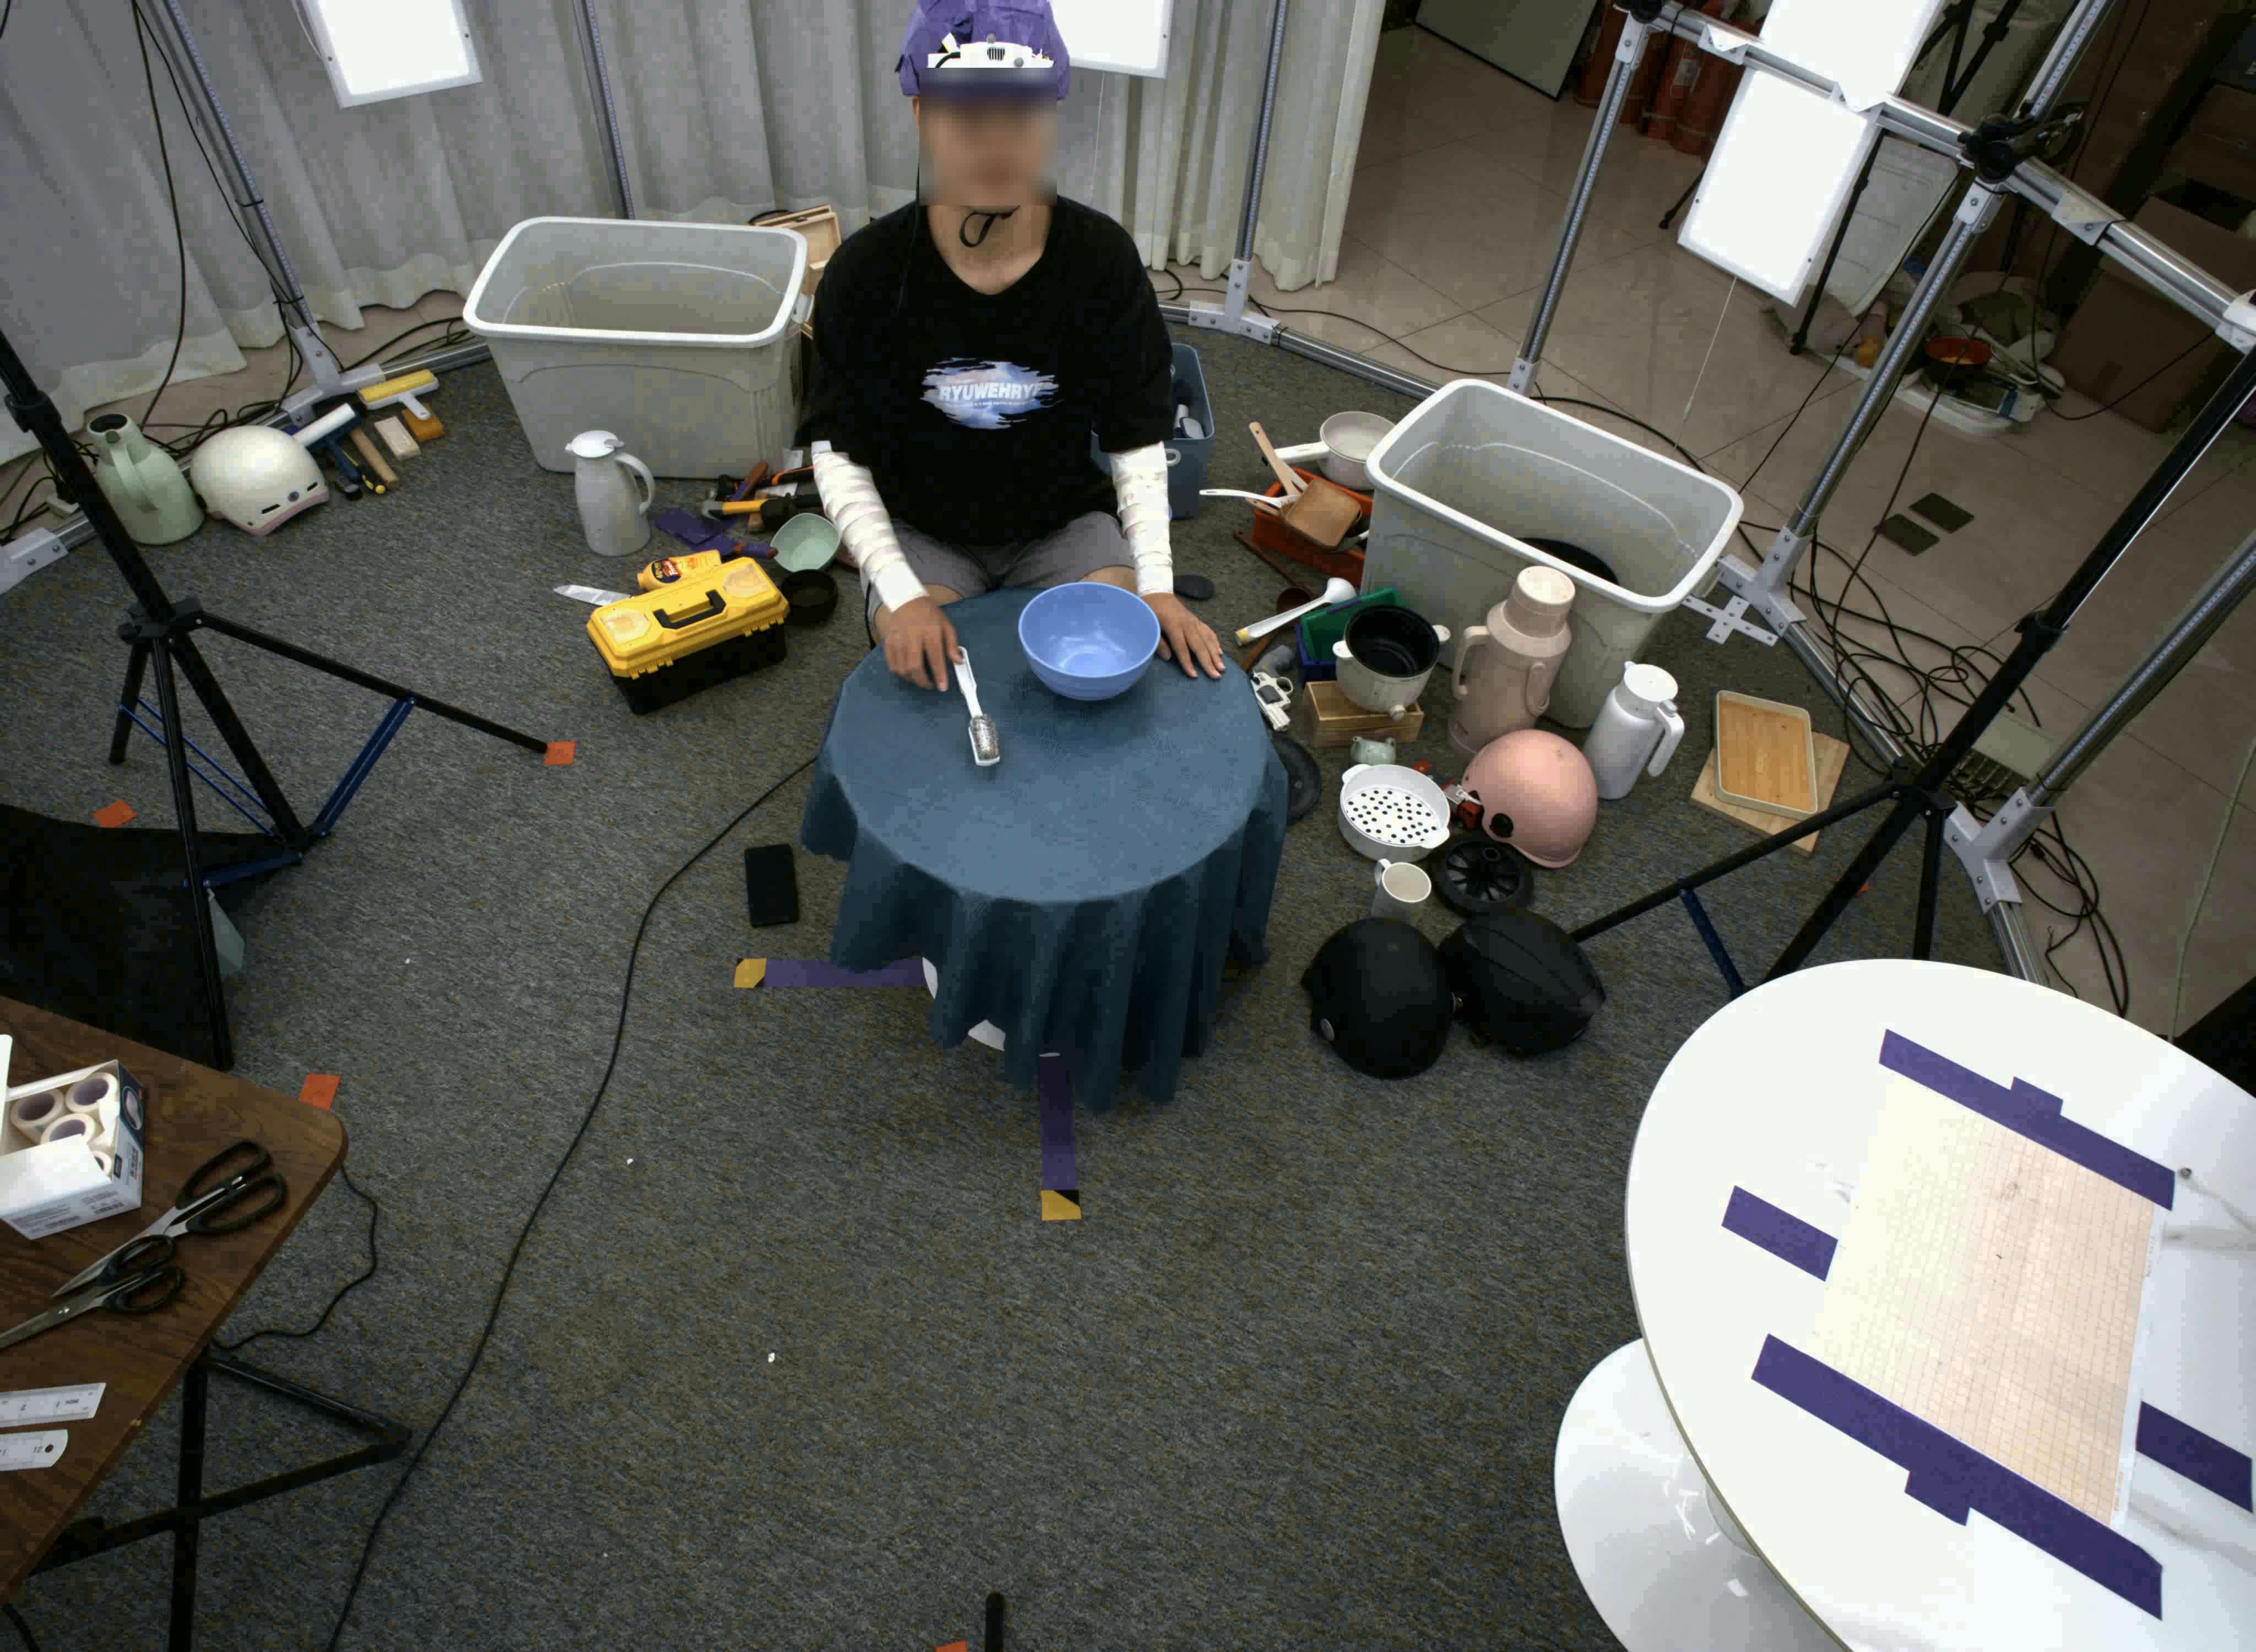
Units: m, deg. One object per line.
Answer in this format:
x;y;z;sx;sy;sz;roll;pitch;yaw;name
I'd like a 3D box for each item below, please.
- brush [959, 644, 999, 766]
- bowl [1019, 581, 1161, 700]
-0.210;-0.182;1.785;0.034;0.049;0.250;-8;51;-8;brush
-0.054;-0.248;1.821;0.196;0.093;0.201;1;51;-2;bowl
